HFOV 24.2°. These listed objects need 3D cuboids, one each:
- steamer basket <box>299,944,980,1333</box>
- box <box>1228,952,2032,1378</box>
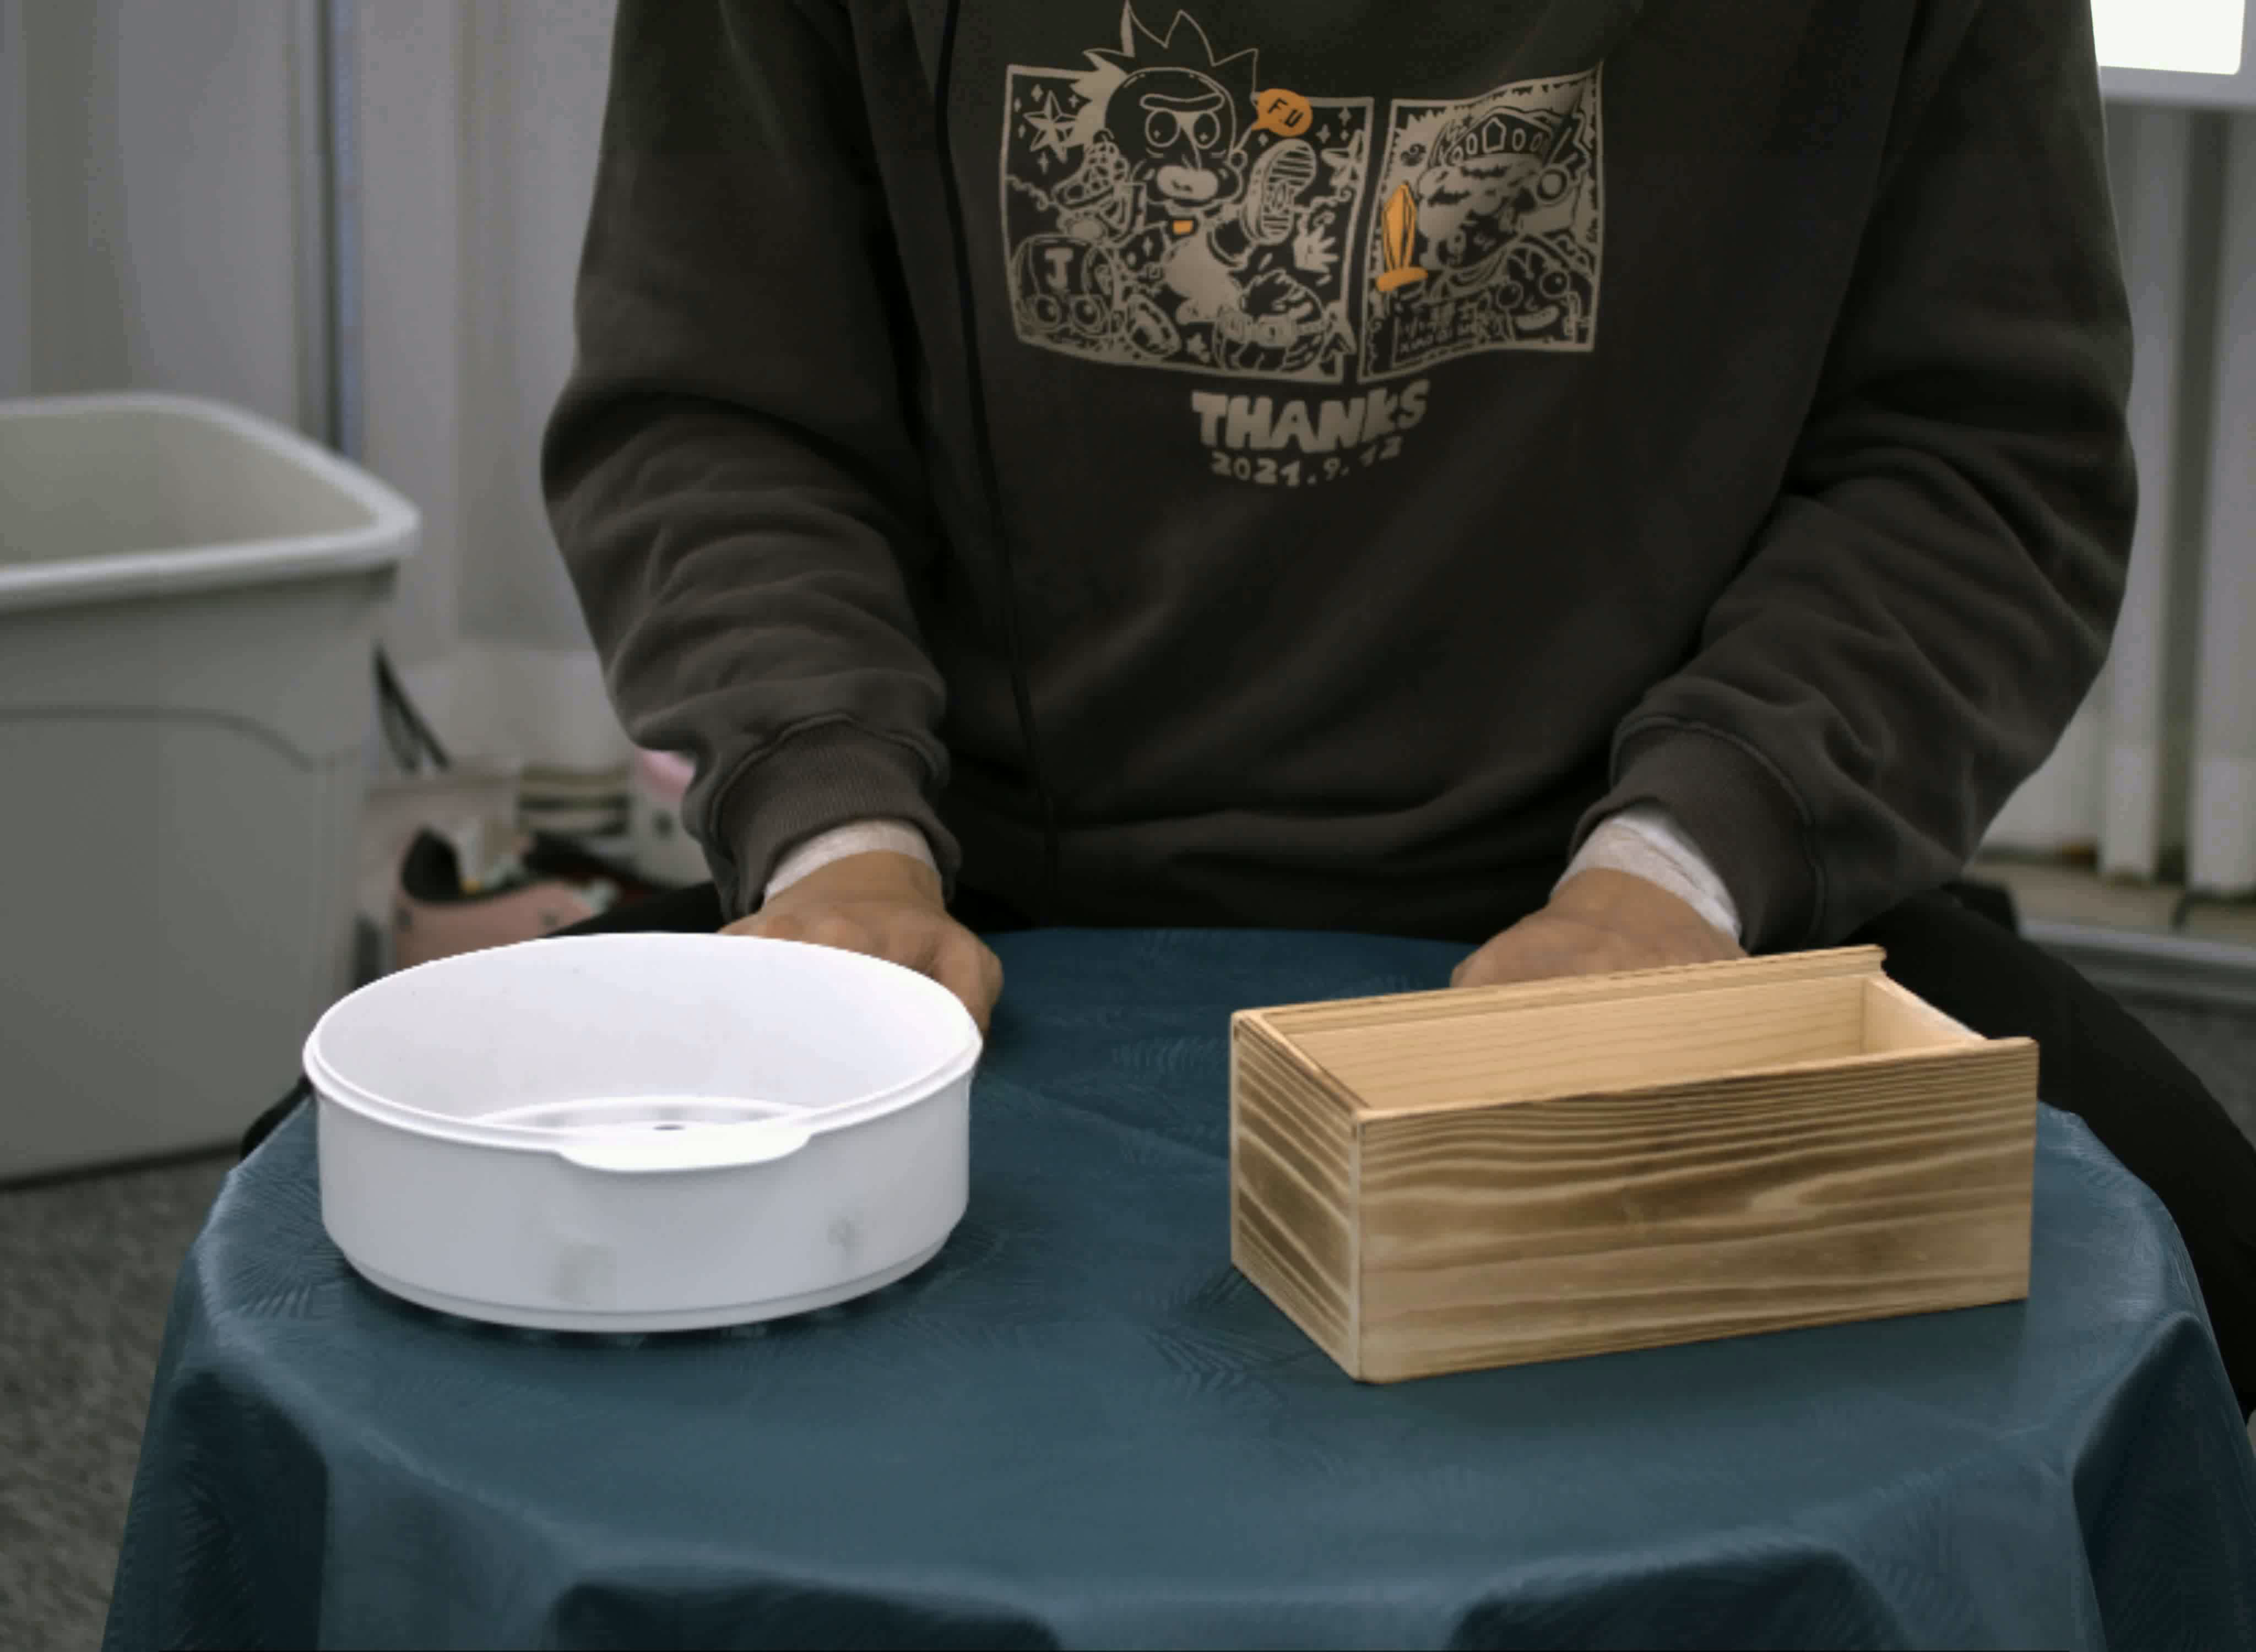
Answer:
[{"bbox_3d":[-0.145,0.092,1.570,0.202,0.070,0.228,-2,15,-12],"label":"steamer basket"},{"bbox_3d":[0.145,0.096,1.543,0.212,0.081,0.106,-5,16,-20],"label":"box"}]
